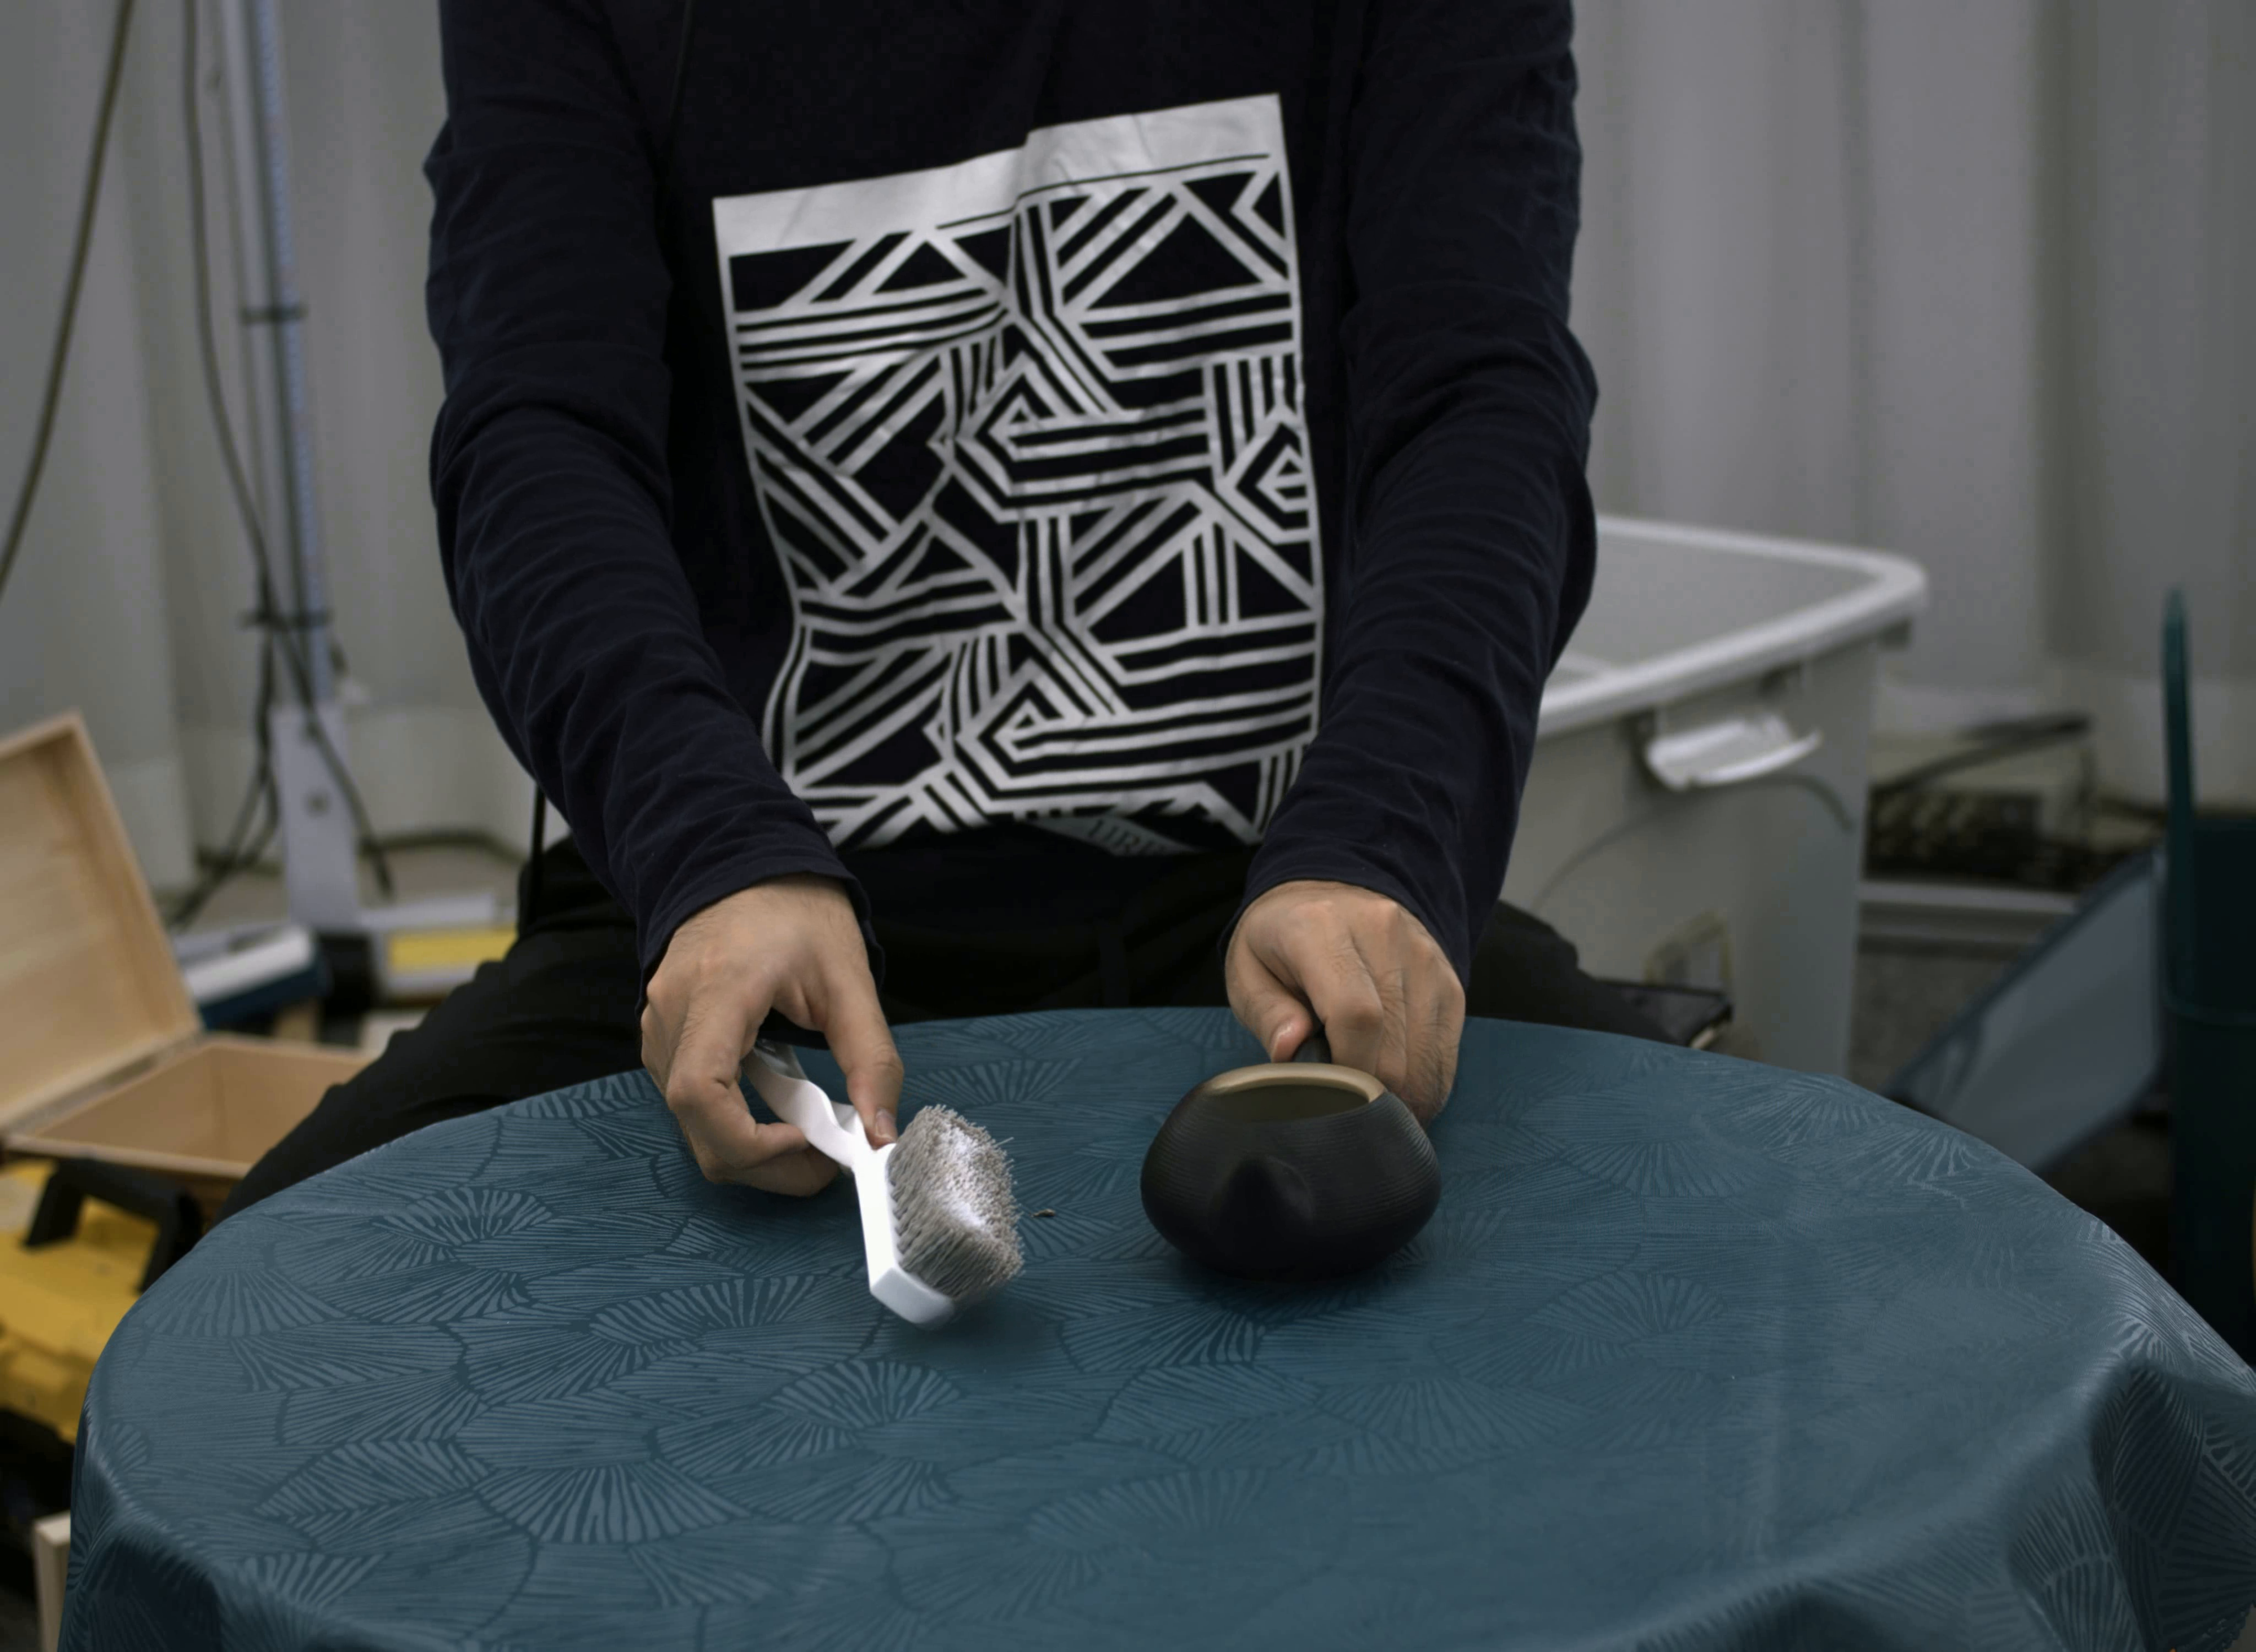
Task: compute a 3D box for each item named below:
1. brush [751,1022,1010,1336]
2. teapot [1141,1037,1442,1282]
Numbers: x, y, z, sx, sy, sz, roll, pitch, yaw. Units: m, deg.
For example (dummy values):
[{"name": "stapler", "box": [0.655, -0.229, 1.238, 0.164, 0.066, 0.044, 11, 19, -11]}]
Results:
[{"name": "brush", "box": [-0.078, 0.090, 1.686, 0.034, 0.050, 0.246, 24, 11, -20]}, {"name": "teapot", "box": [0.049, 0.104, 1.644, 0.091, 0.053, 0.134, 3, 16, 11]}]
